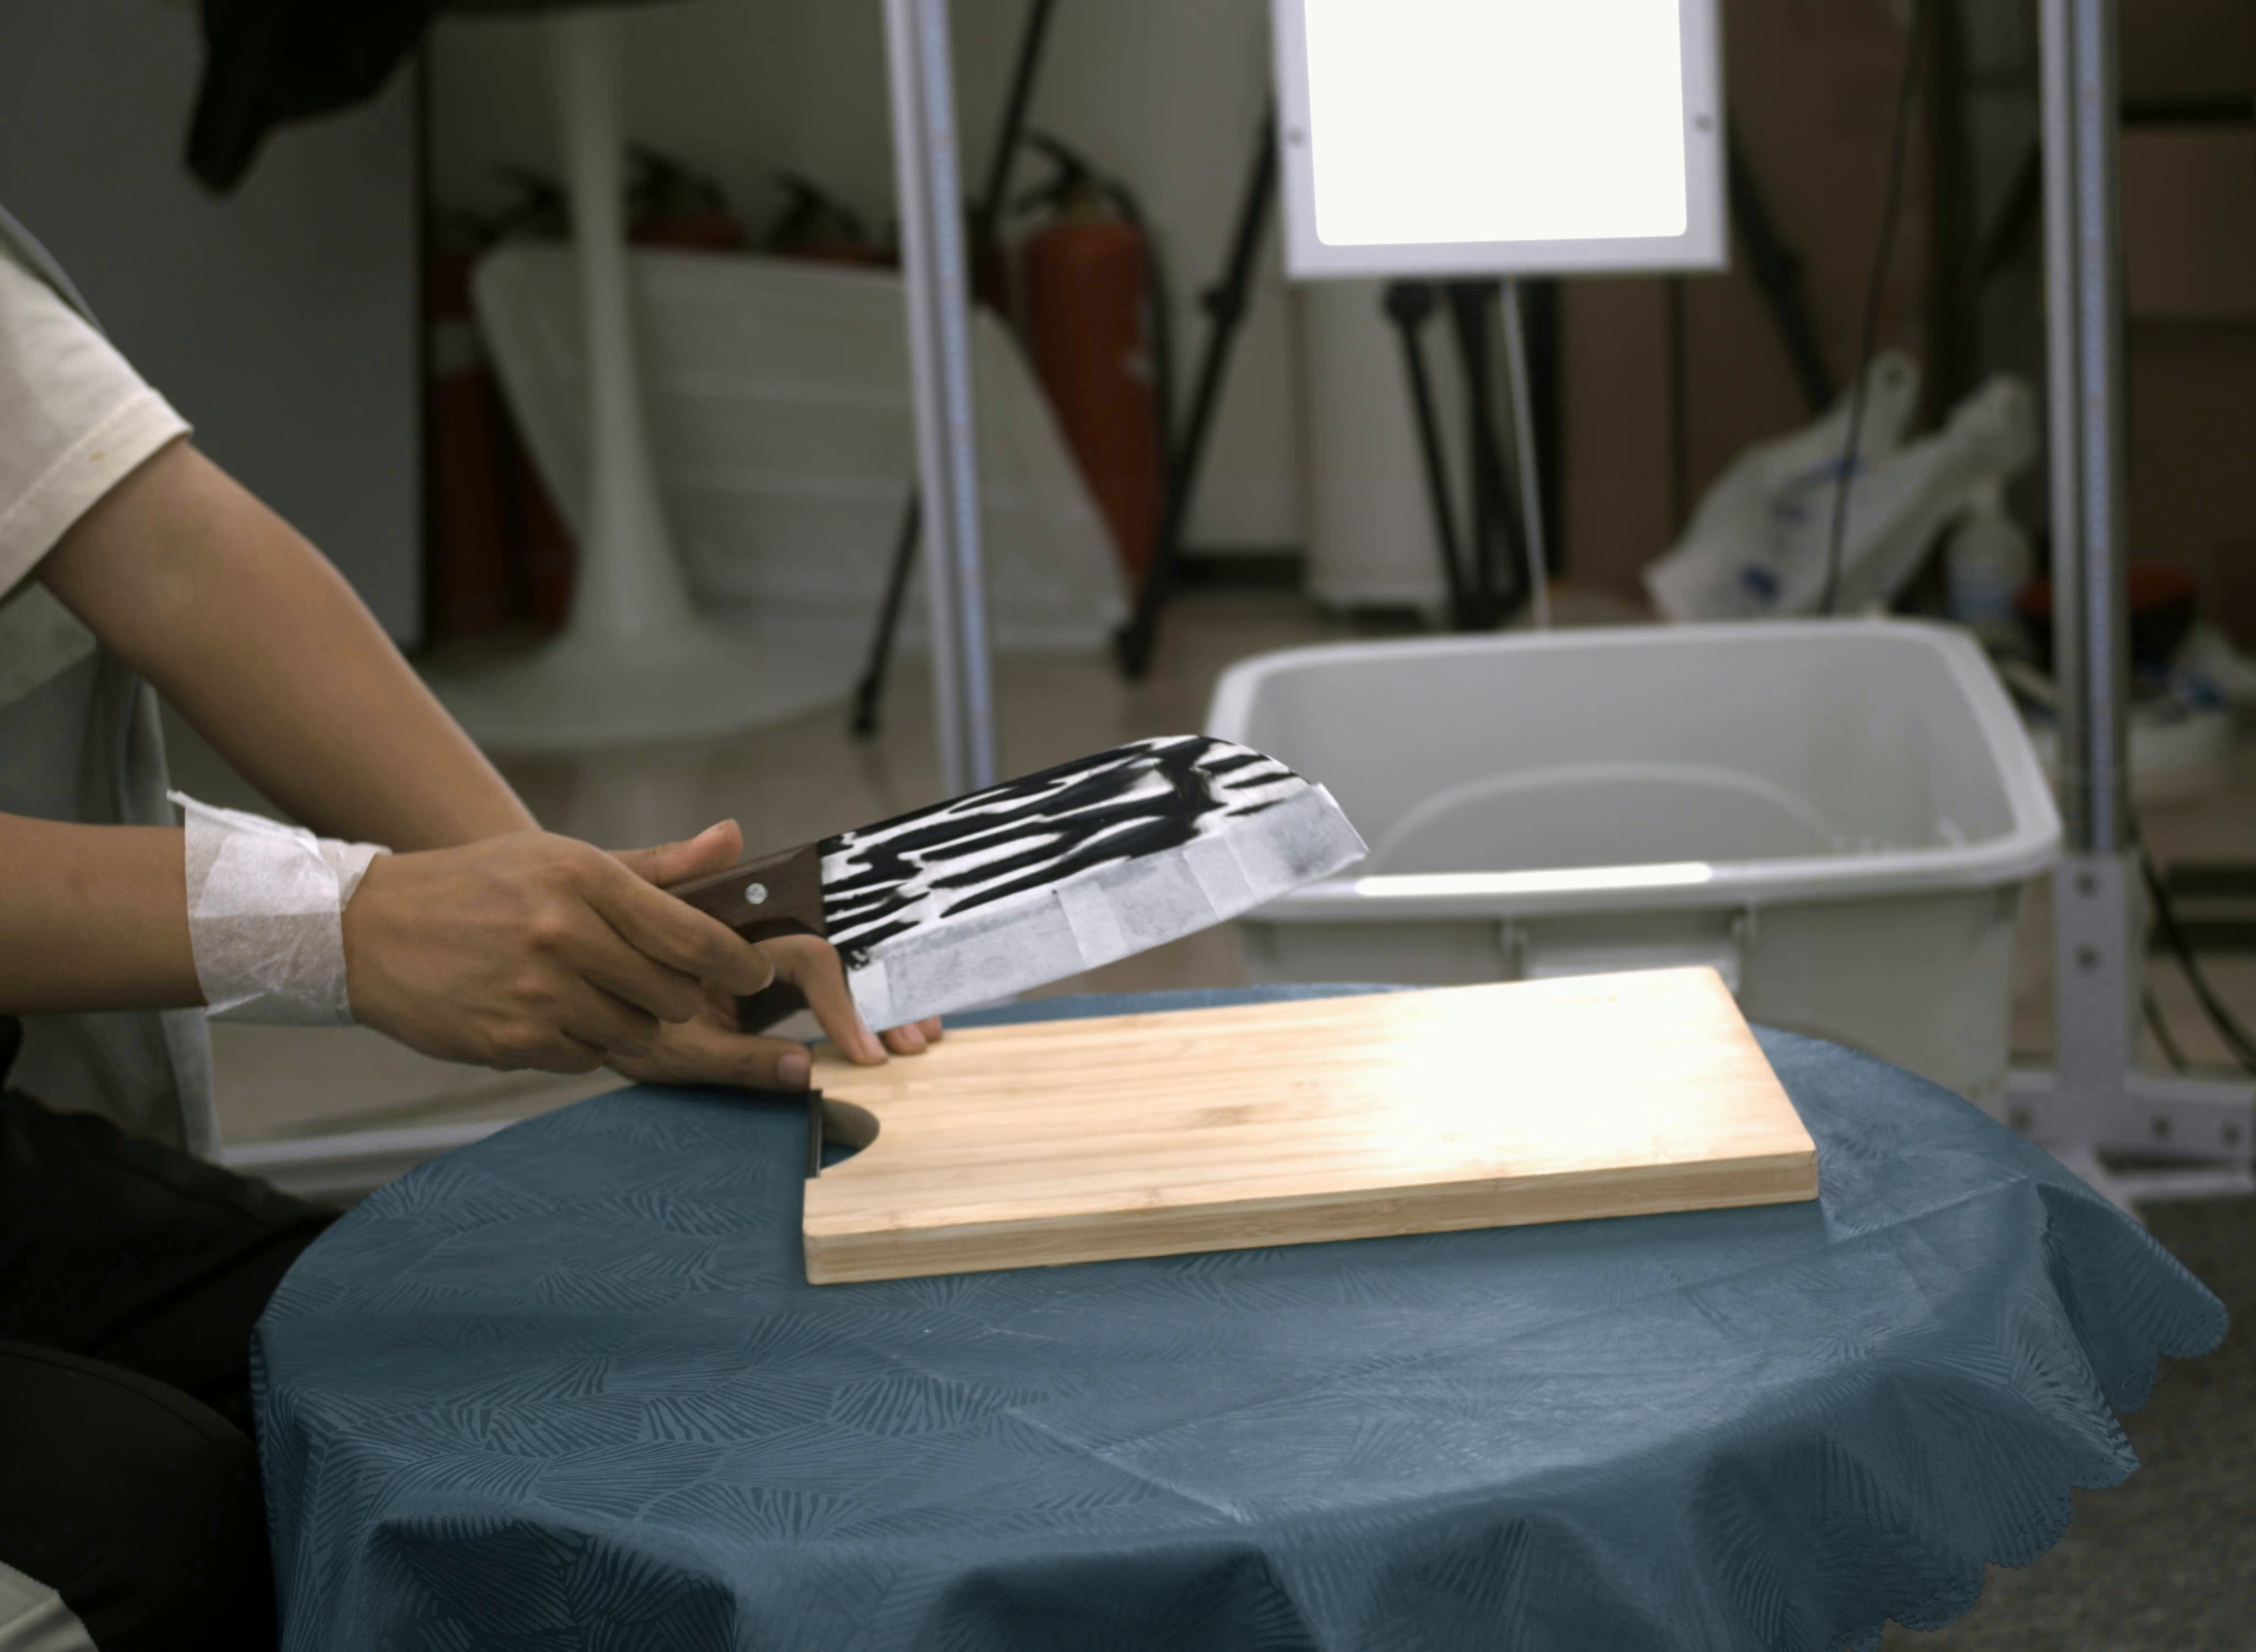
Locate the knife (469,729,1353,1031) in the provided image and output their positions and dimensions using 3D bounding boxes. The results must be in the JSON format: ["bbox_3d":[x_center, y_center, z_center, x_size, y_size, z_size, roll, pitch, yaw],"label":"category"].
[{"bbox_3d":[-0.073,0.027,1.792,0.302,0.068,0.023,-17,-10,15],"label":"knife"}]

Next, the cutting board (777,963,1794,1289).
[{"bbox_3d":[0.051,0.104,1.939,0.347,0.023,0.250,-5,13,0],"label":"cutting board"}]
